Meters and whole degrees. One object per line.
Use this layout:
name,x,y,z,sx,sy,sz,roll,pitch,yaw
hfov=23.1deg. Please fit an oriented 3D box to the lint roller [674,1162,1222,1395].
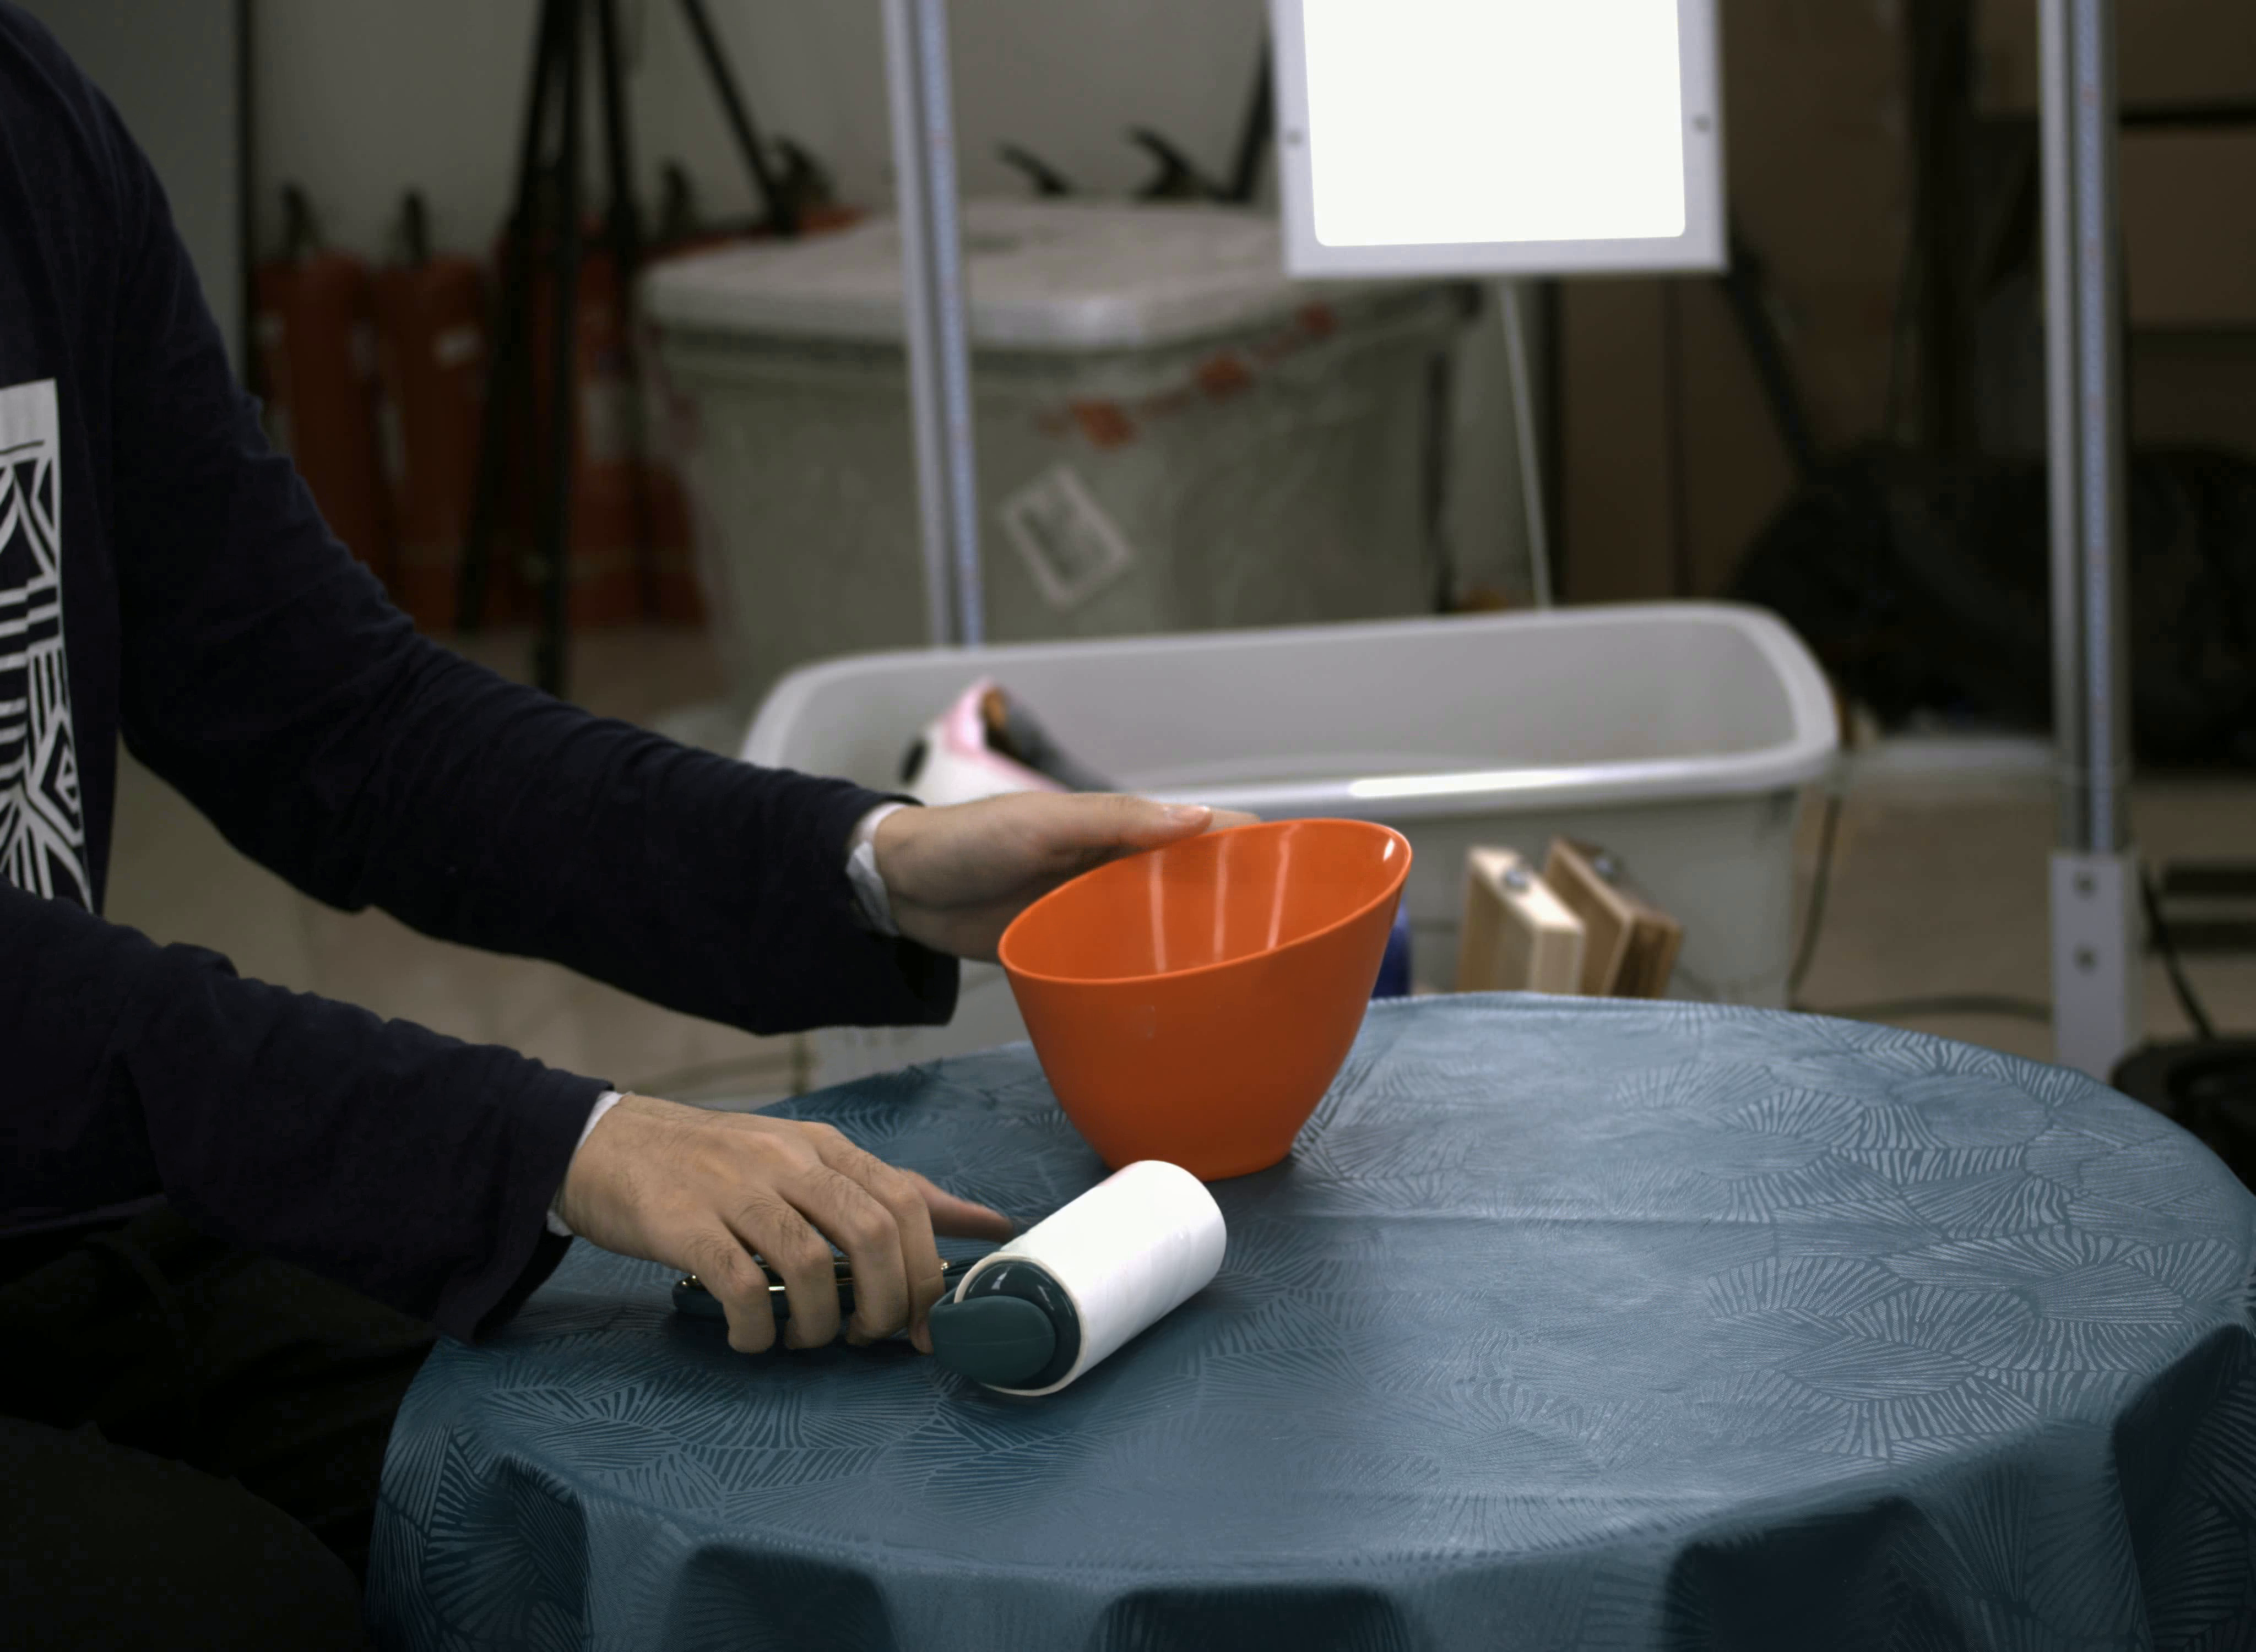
lint roller,-0.071,0.144,1.777,0.183,0.048,0.131,-1,13,29

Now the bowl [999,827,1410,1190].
bowl,0.032,0.067,1.929,0.148,0.105,0.148,-7,13,0
